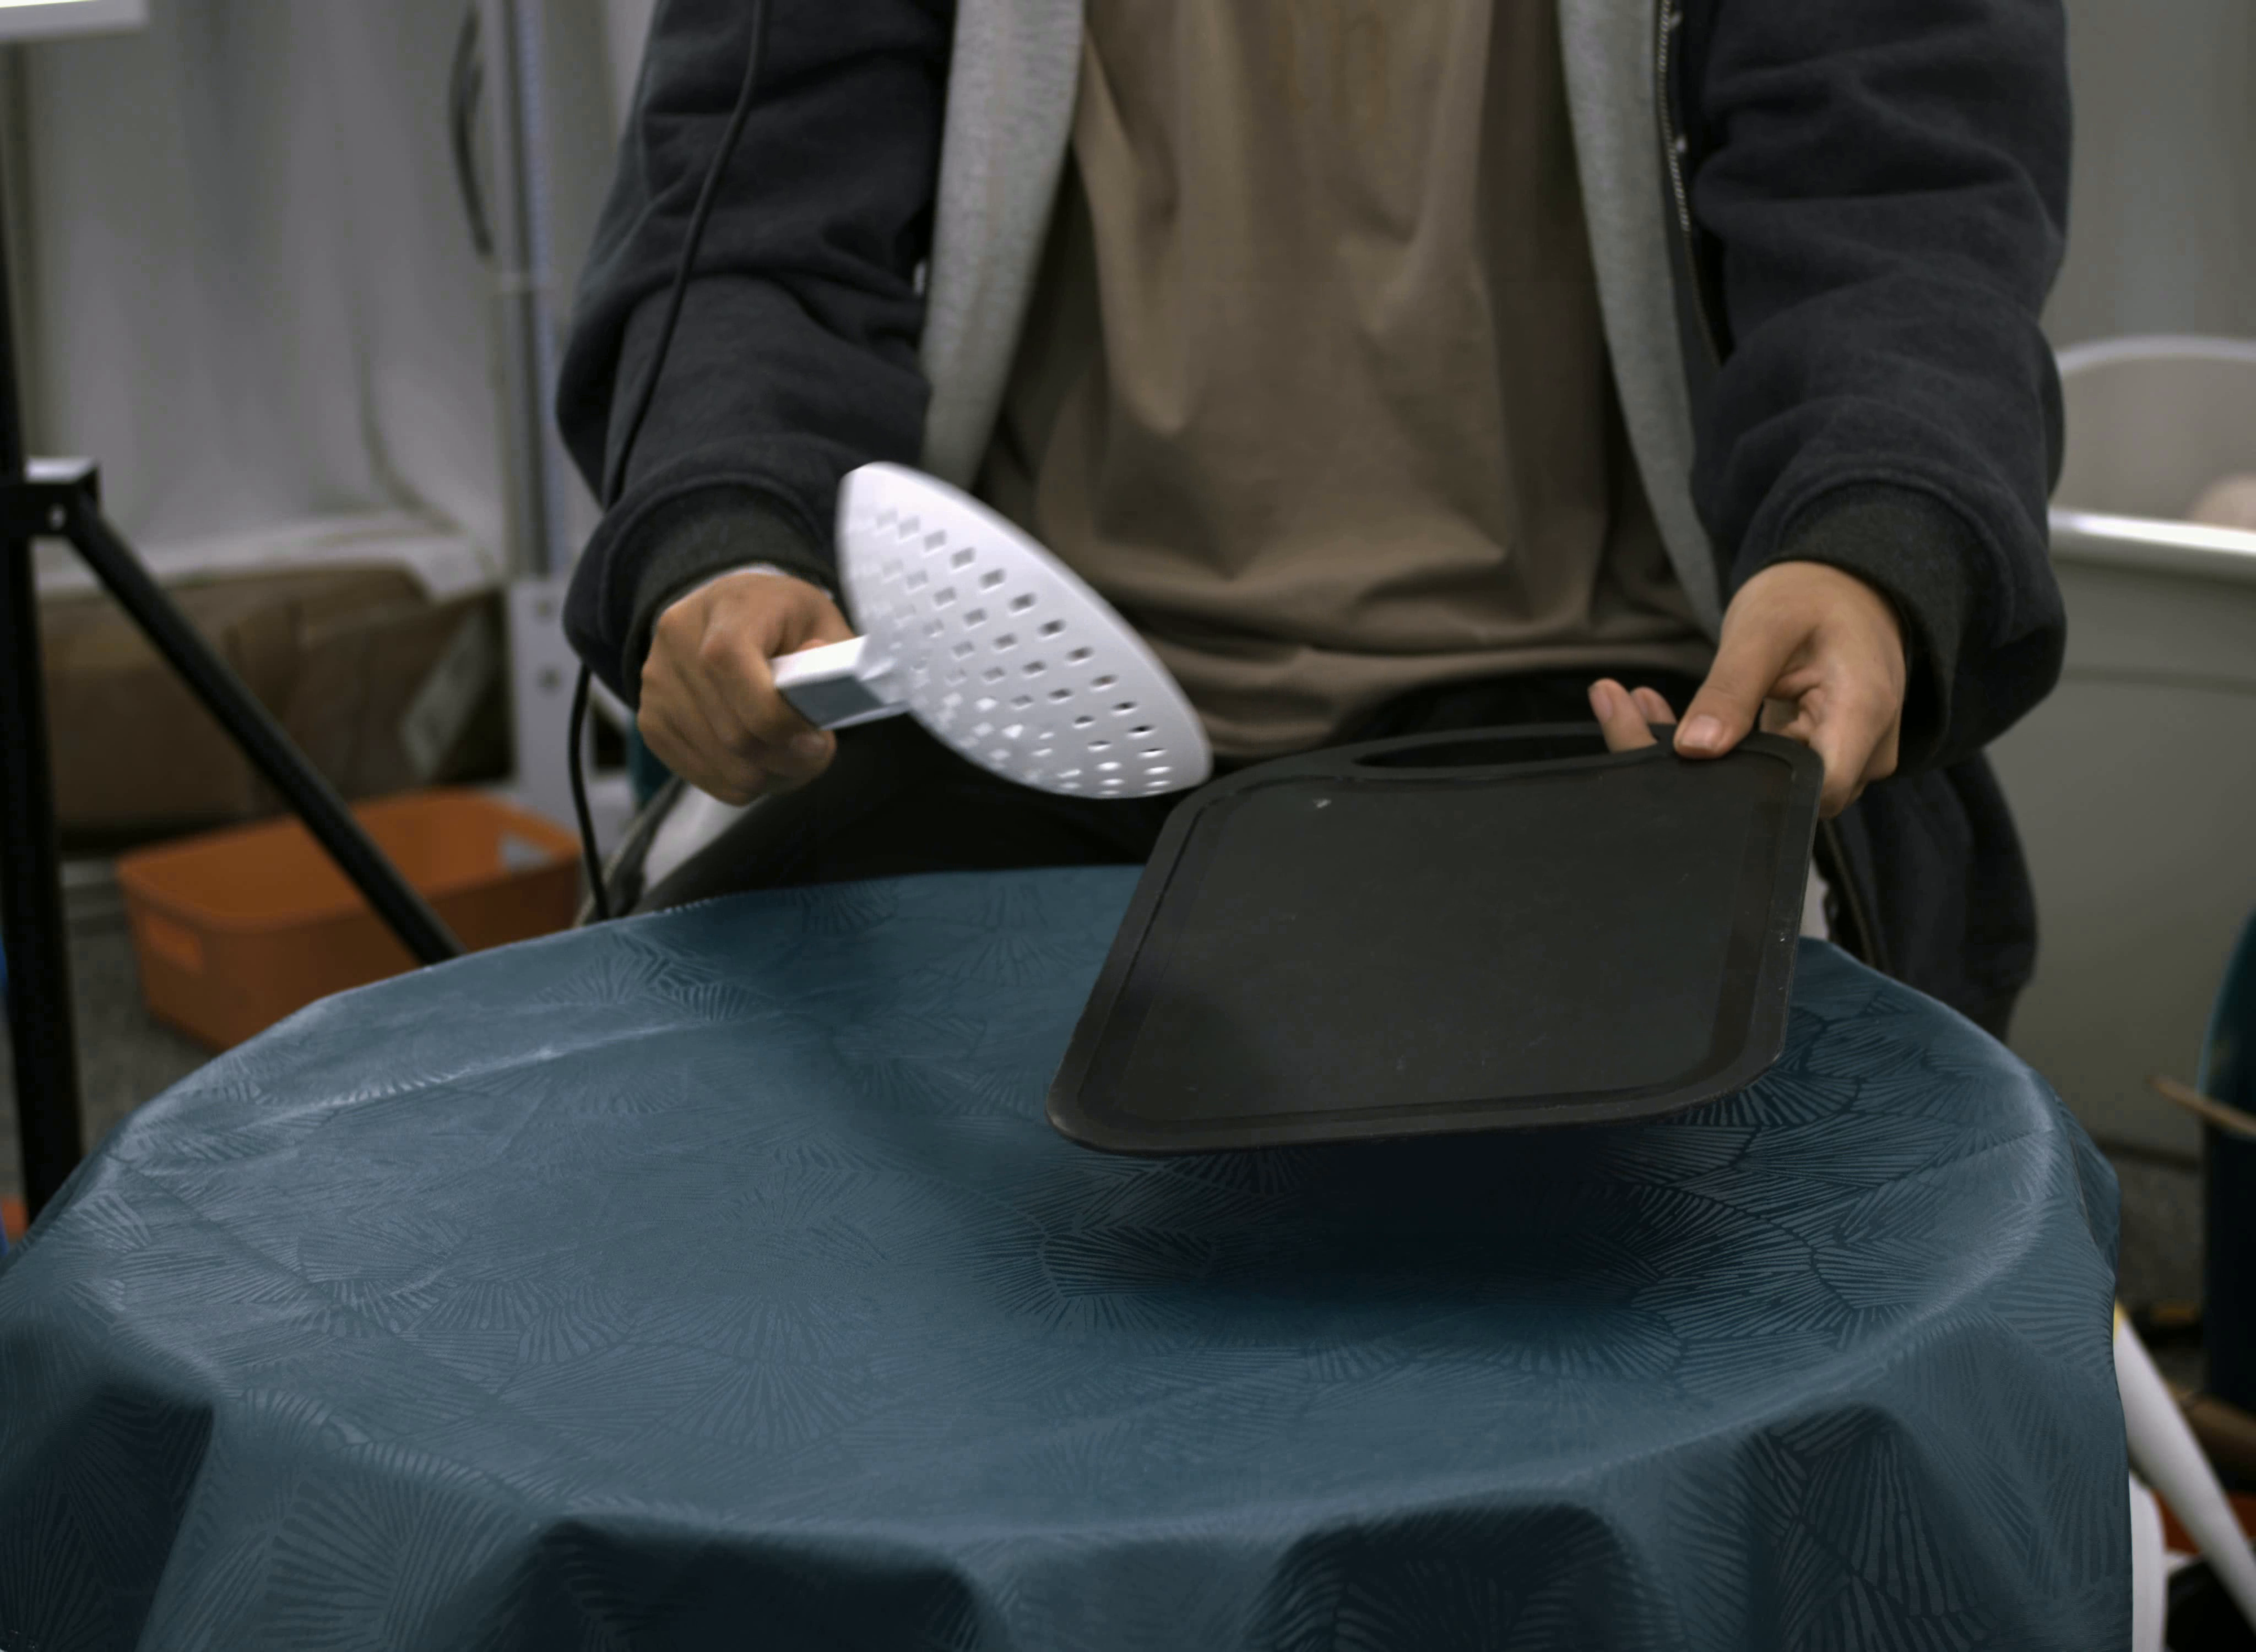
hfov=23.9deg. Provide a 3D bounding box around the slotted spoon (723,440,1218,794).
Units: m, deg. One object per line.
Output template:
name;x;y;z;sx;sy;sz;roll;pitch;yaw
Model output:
slotted spoon;-0.067;-0.052;1.658;0.045;0.135;0.354;-44;12;-12

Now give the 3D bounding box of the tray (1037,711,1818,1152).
tray;0.096;0.024;1.587;0.212;0.010;0.324;-5;21;13
